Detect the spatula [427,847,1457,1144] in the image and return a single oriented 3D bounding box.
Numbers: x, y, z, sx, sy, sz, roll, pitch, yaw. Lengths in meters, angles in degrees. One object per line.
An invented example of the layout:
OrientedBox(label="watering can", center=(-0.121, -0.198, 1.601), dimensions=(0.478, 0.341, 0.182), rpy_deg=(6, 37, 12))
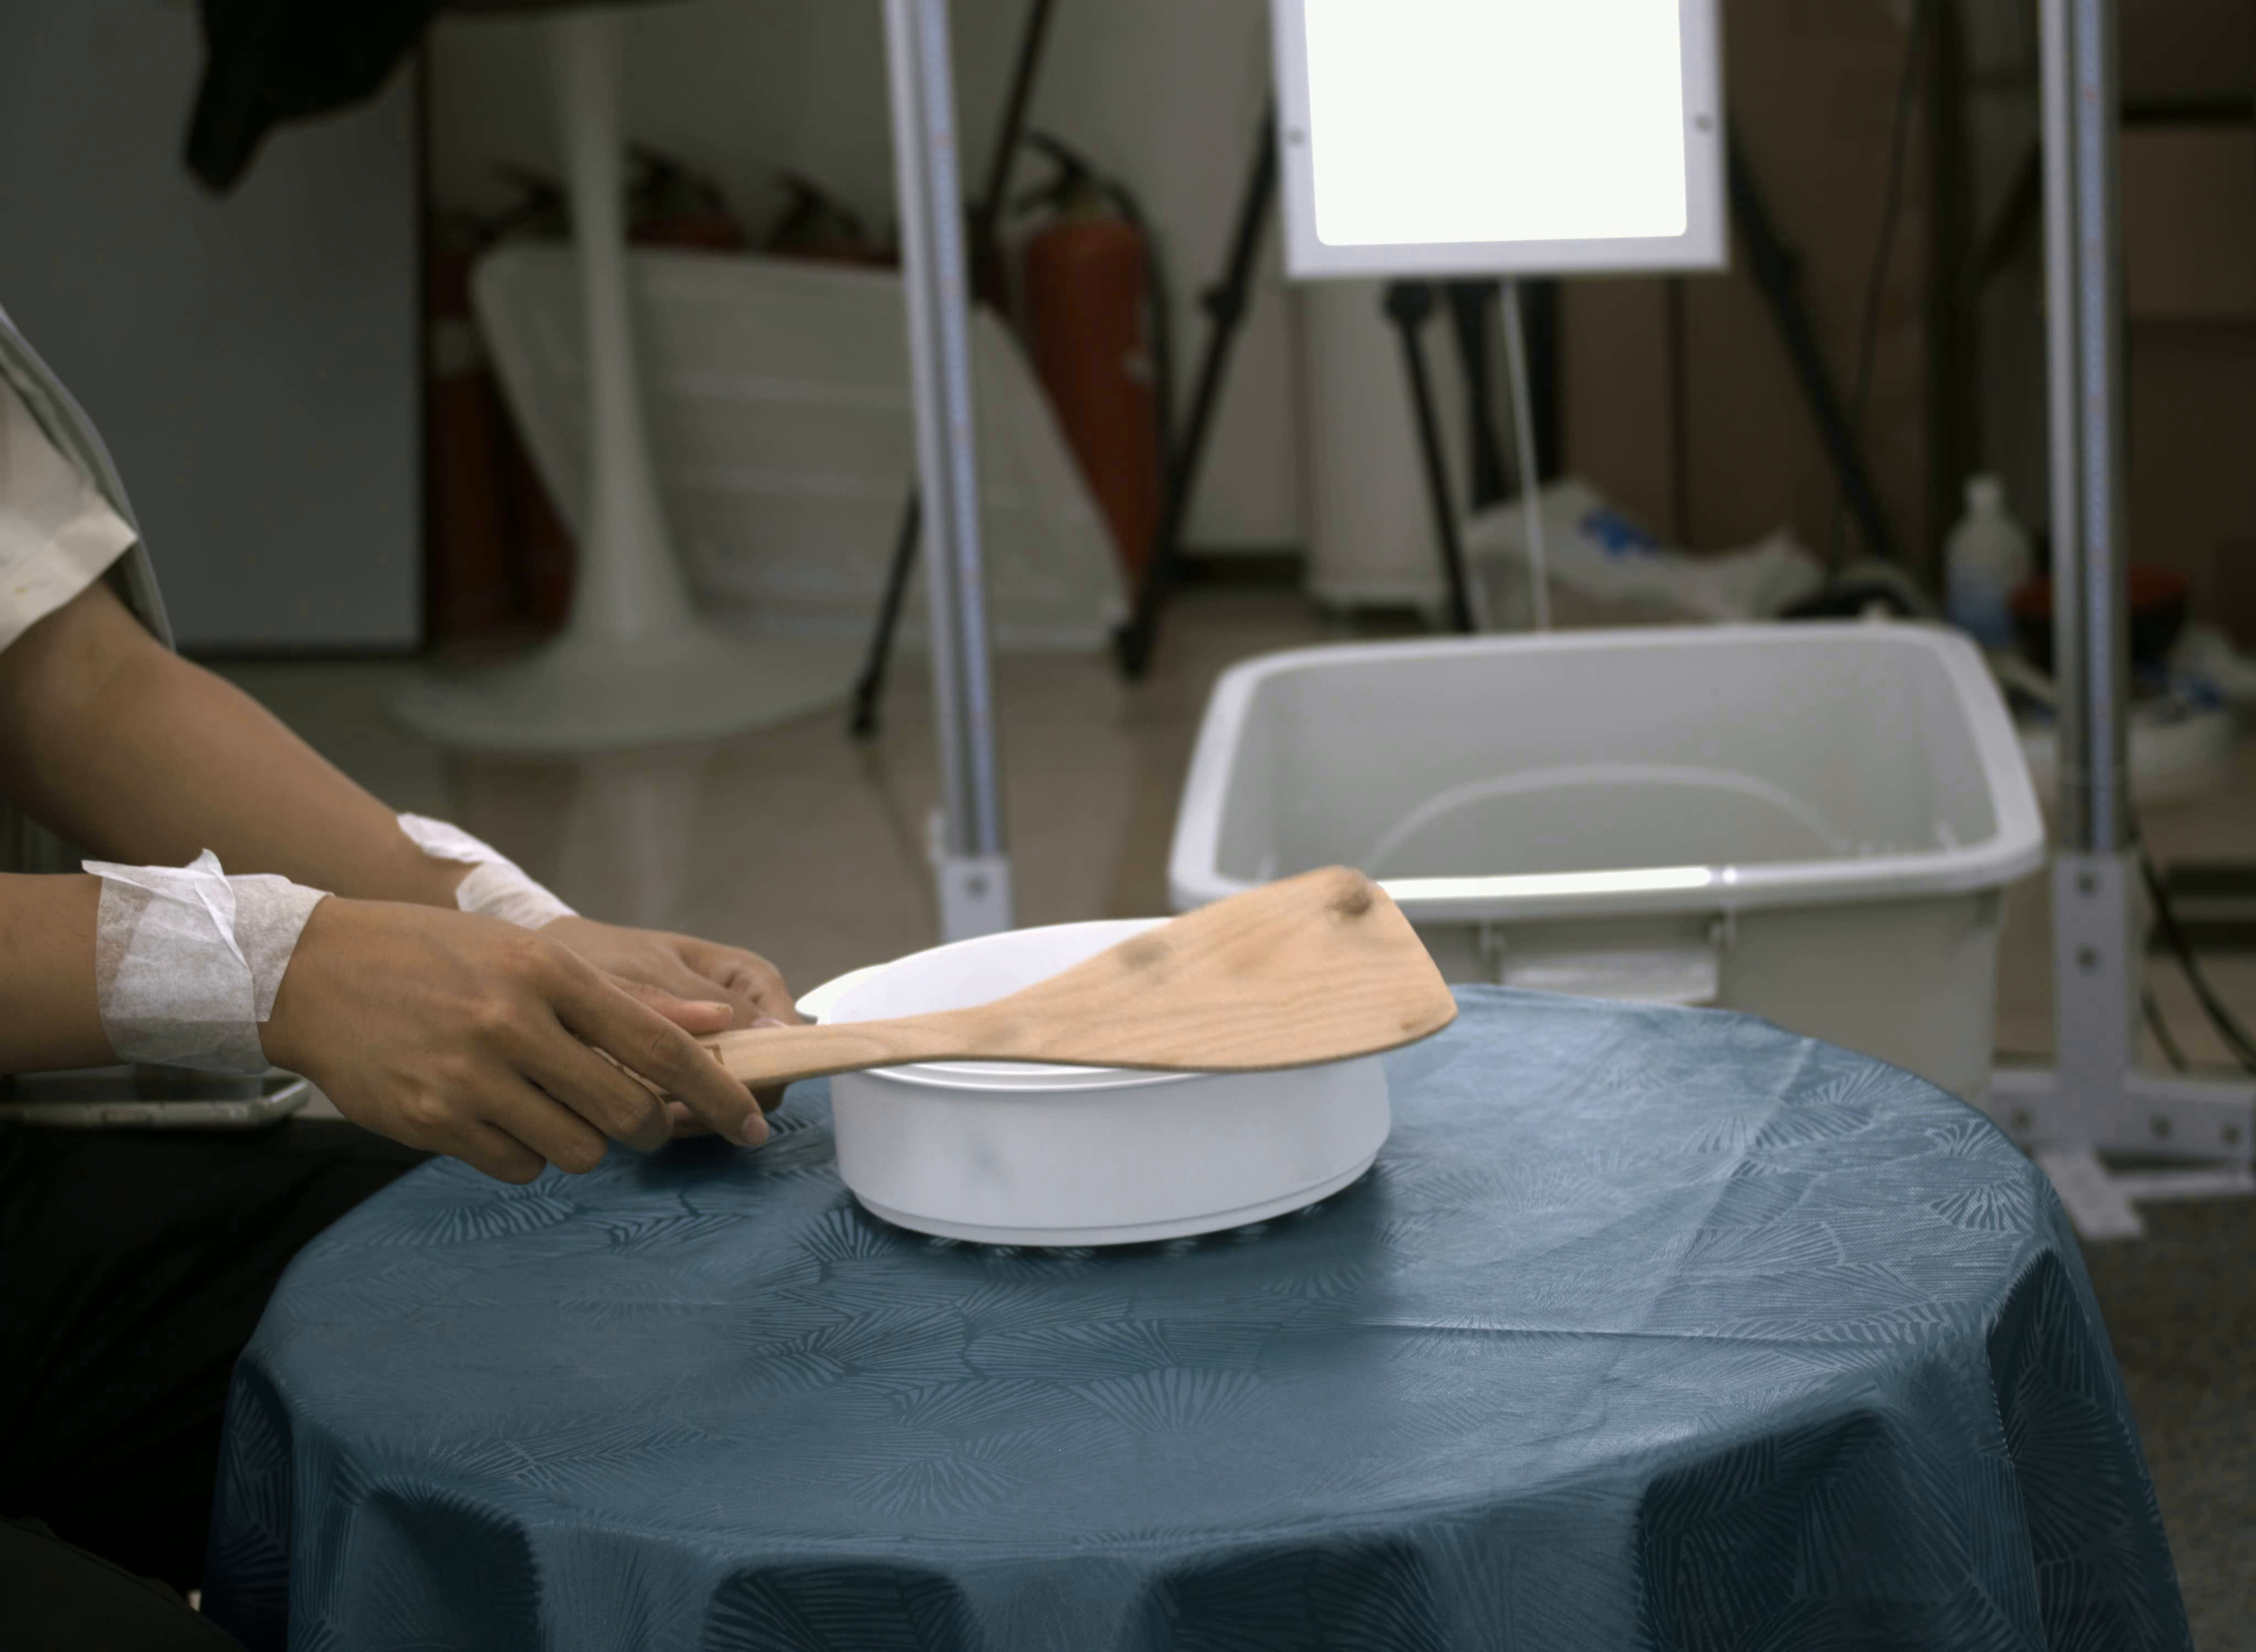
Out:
OrientedBox(label="spatula", center=(-0.061, 0.061, 1.749), dimensions=(0.324, 0.016, 0.080), rpy_deg=(-9, 49, -9))

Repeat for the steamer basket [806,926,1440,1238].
OrientedBox(label="steamer basket", center=(-0.002, 0.088, 1.906), dimensions=(0.235, 0.069, 0.197), rpy_deg=(4, 14, 29))
